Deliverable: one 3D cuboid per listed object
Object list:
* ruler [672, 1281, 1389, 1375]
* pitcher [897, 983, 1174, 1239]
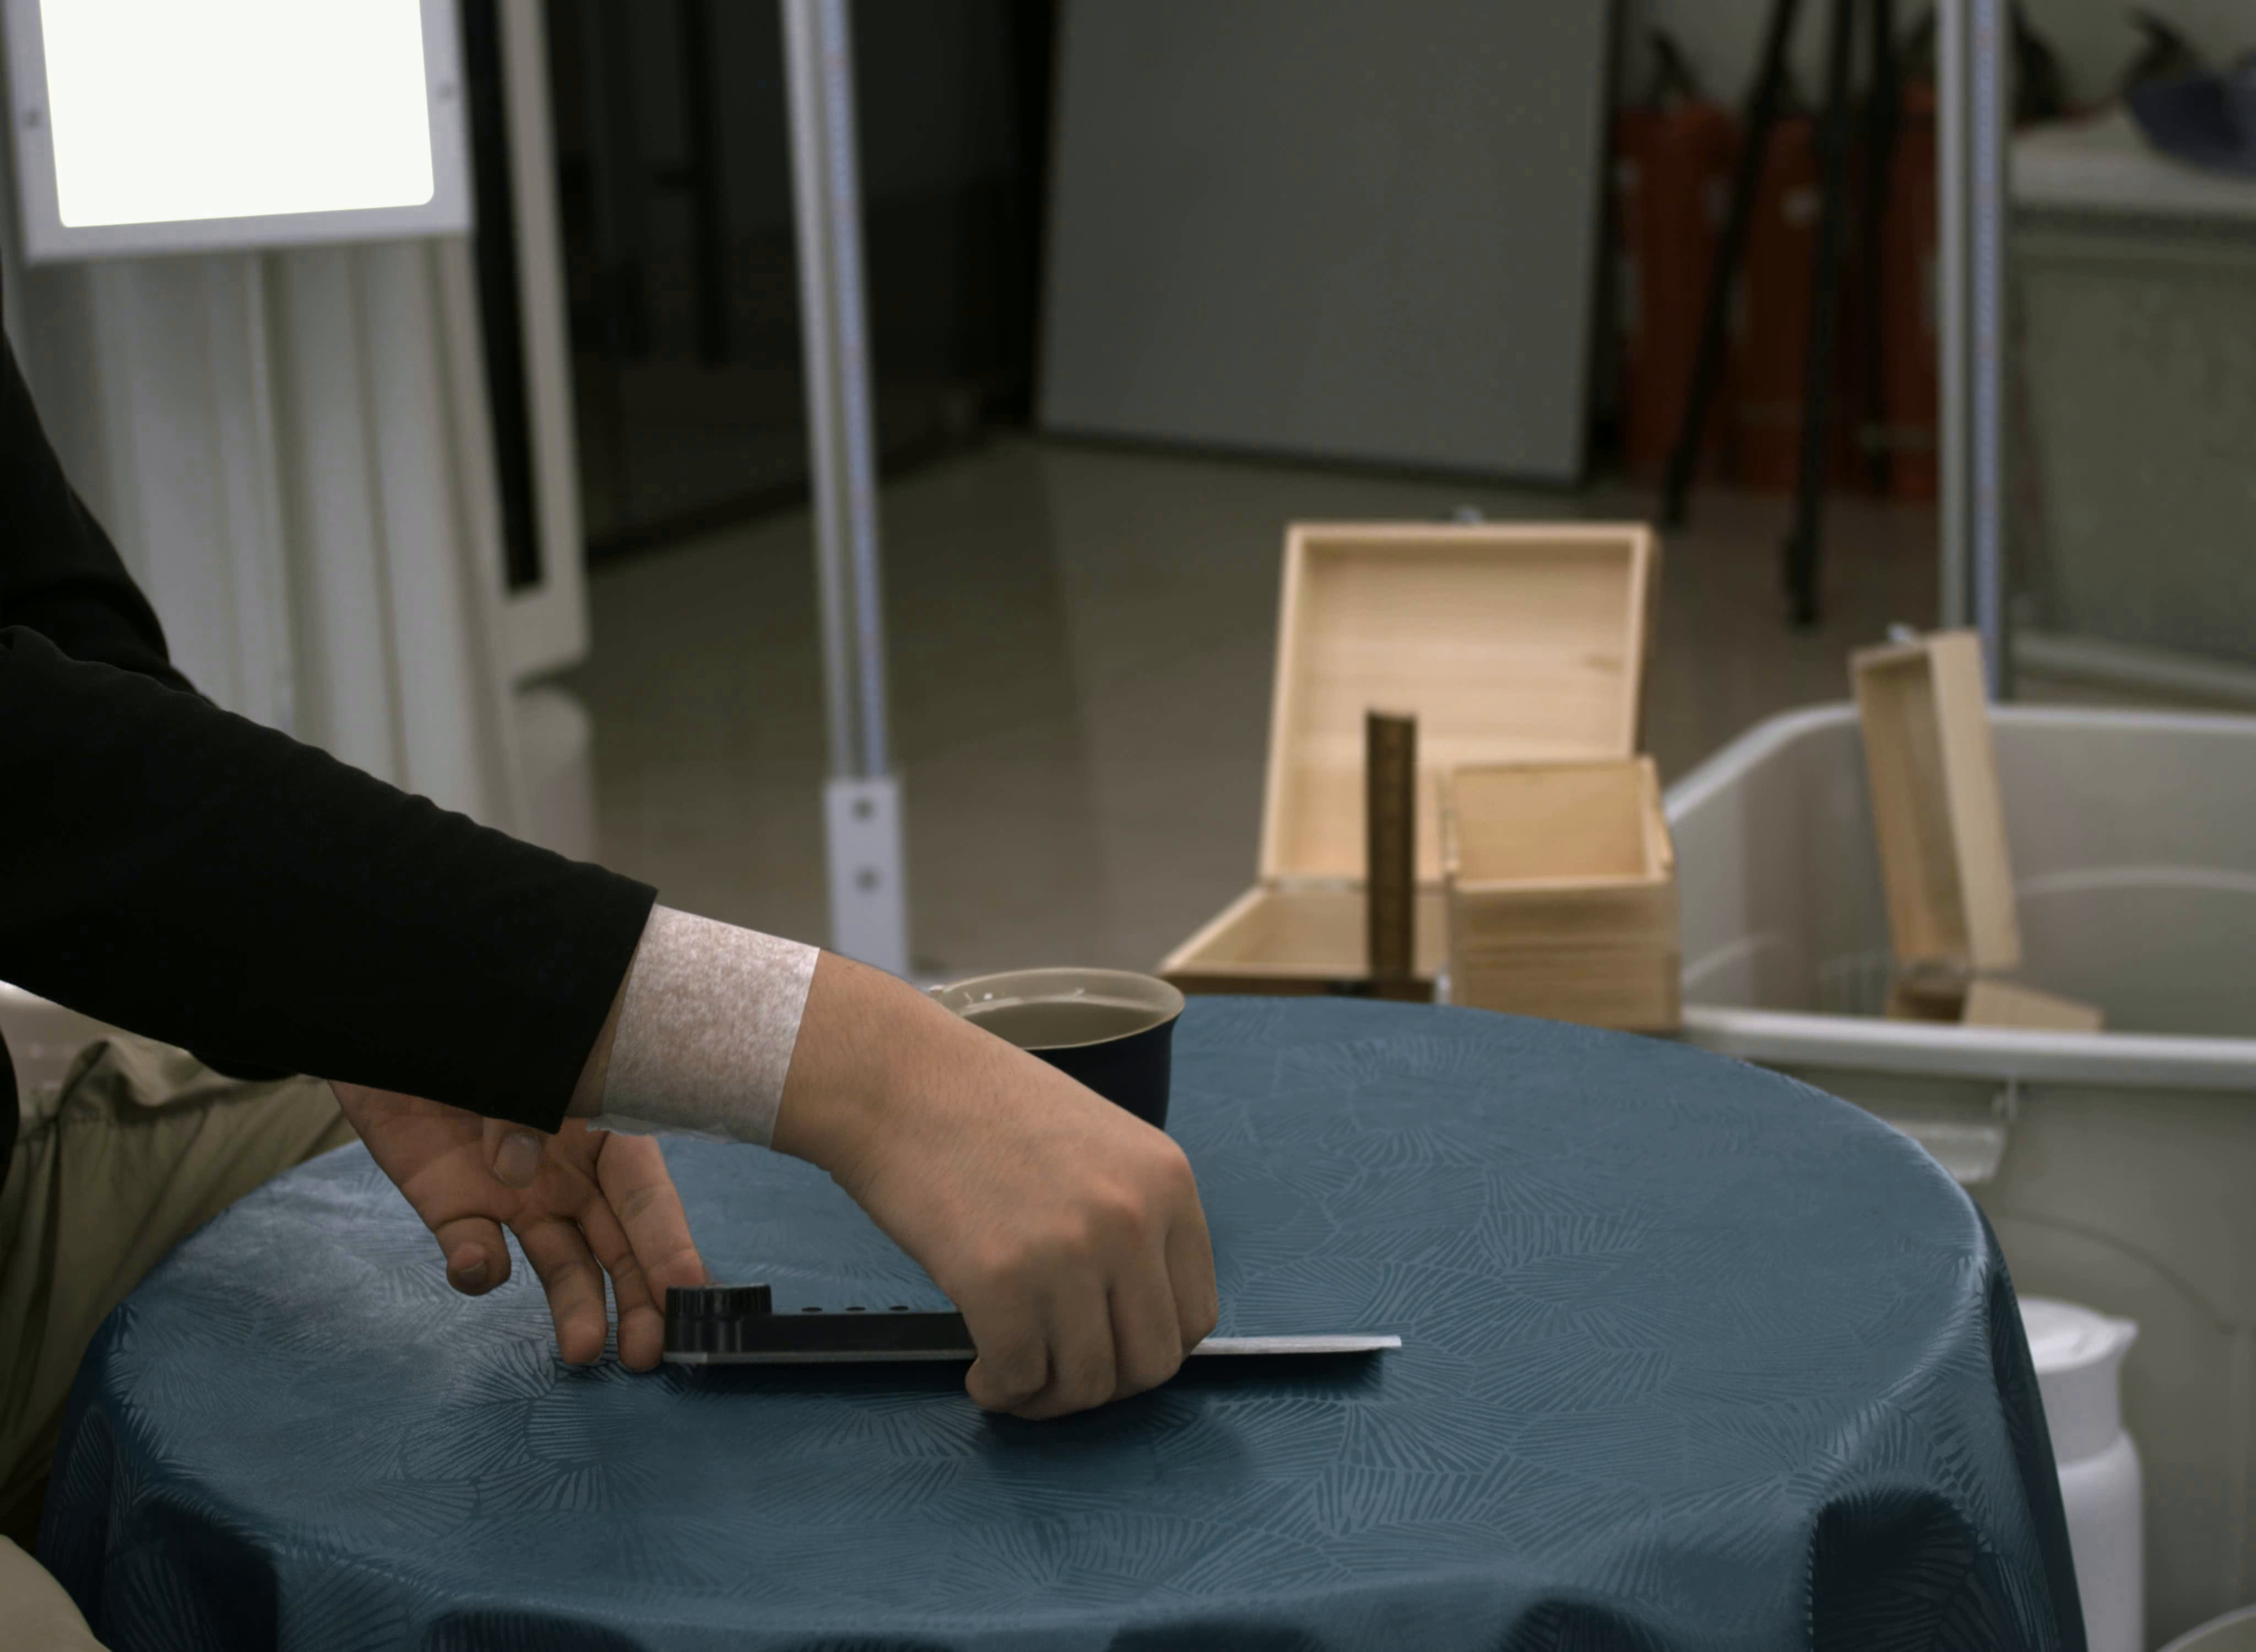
[{"bbox_3d":[-0.031,0.146,1.608,0.216,0.024,0.038,-3,6,10],"label":"ruler"},{"bbox_3d":[-0.030,0.091,1.746,0.096,0.072,0.082,5,17,29],"label":"pitcher"}]
